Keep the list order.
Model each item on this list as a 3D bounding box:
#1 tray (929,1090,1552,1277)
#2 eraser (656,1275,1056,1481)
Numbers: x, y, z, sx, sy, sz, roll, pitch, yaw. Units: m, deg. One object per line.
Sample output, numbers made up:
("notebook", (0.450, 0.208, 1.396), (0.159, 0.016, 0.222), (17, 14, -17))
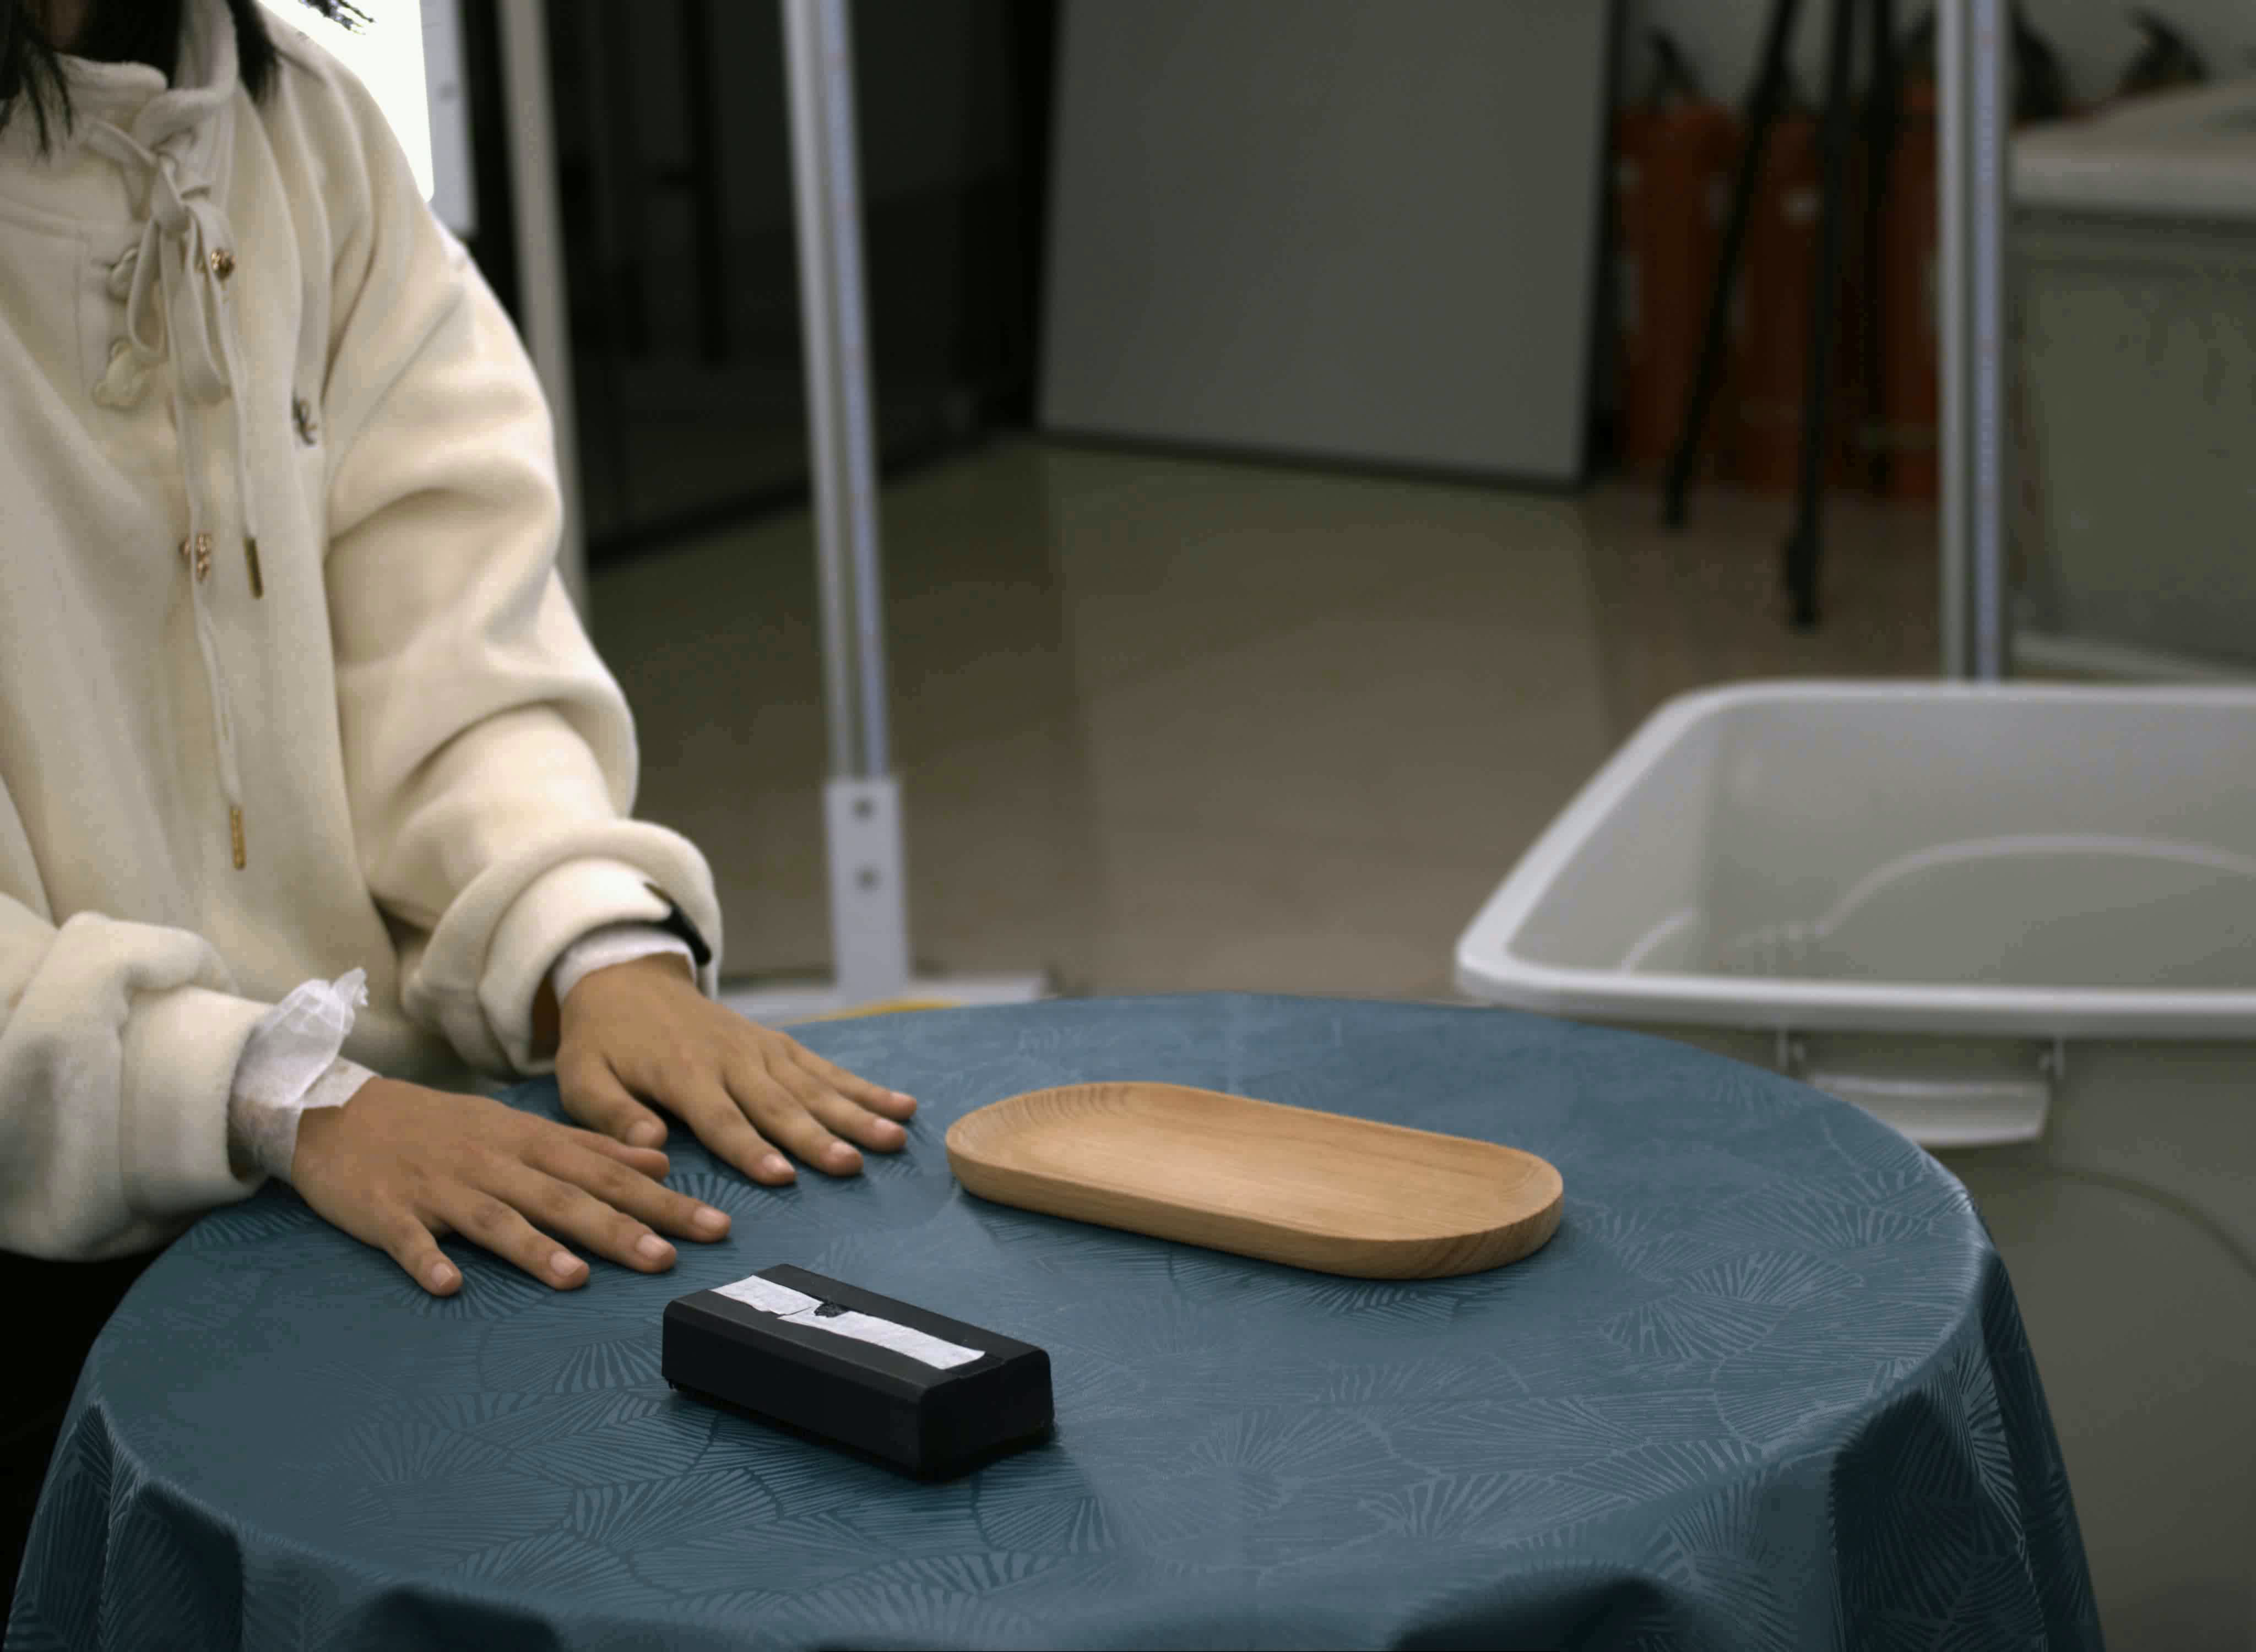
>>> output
("tray", (0.035, 0.115, 1.750), (0.233, 0.020, 0.100), (5, 16, 40))
("eraser", (-0.080, 0.160, 1.574), (0.052, 0.031, 0.127), (-7, 14, -41))
